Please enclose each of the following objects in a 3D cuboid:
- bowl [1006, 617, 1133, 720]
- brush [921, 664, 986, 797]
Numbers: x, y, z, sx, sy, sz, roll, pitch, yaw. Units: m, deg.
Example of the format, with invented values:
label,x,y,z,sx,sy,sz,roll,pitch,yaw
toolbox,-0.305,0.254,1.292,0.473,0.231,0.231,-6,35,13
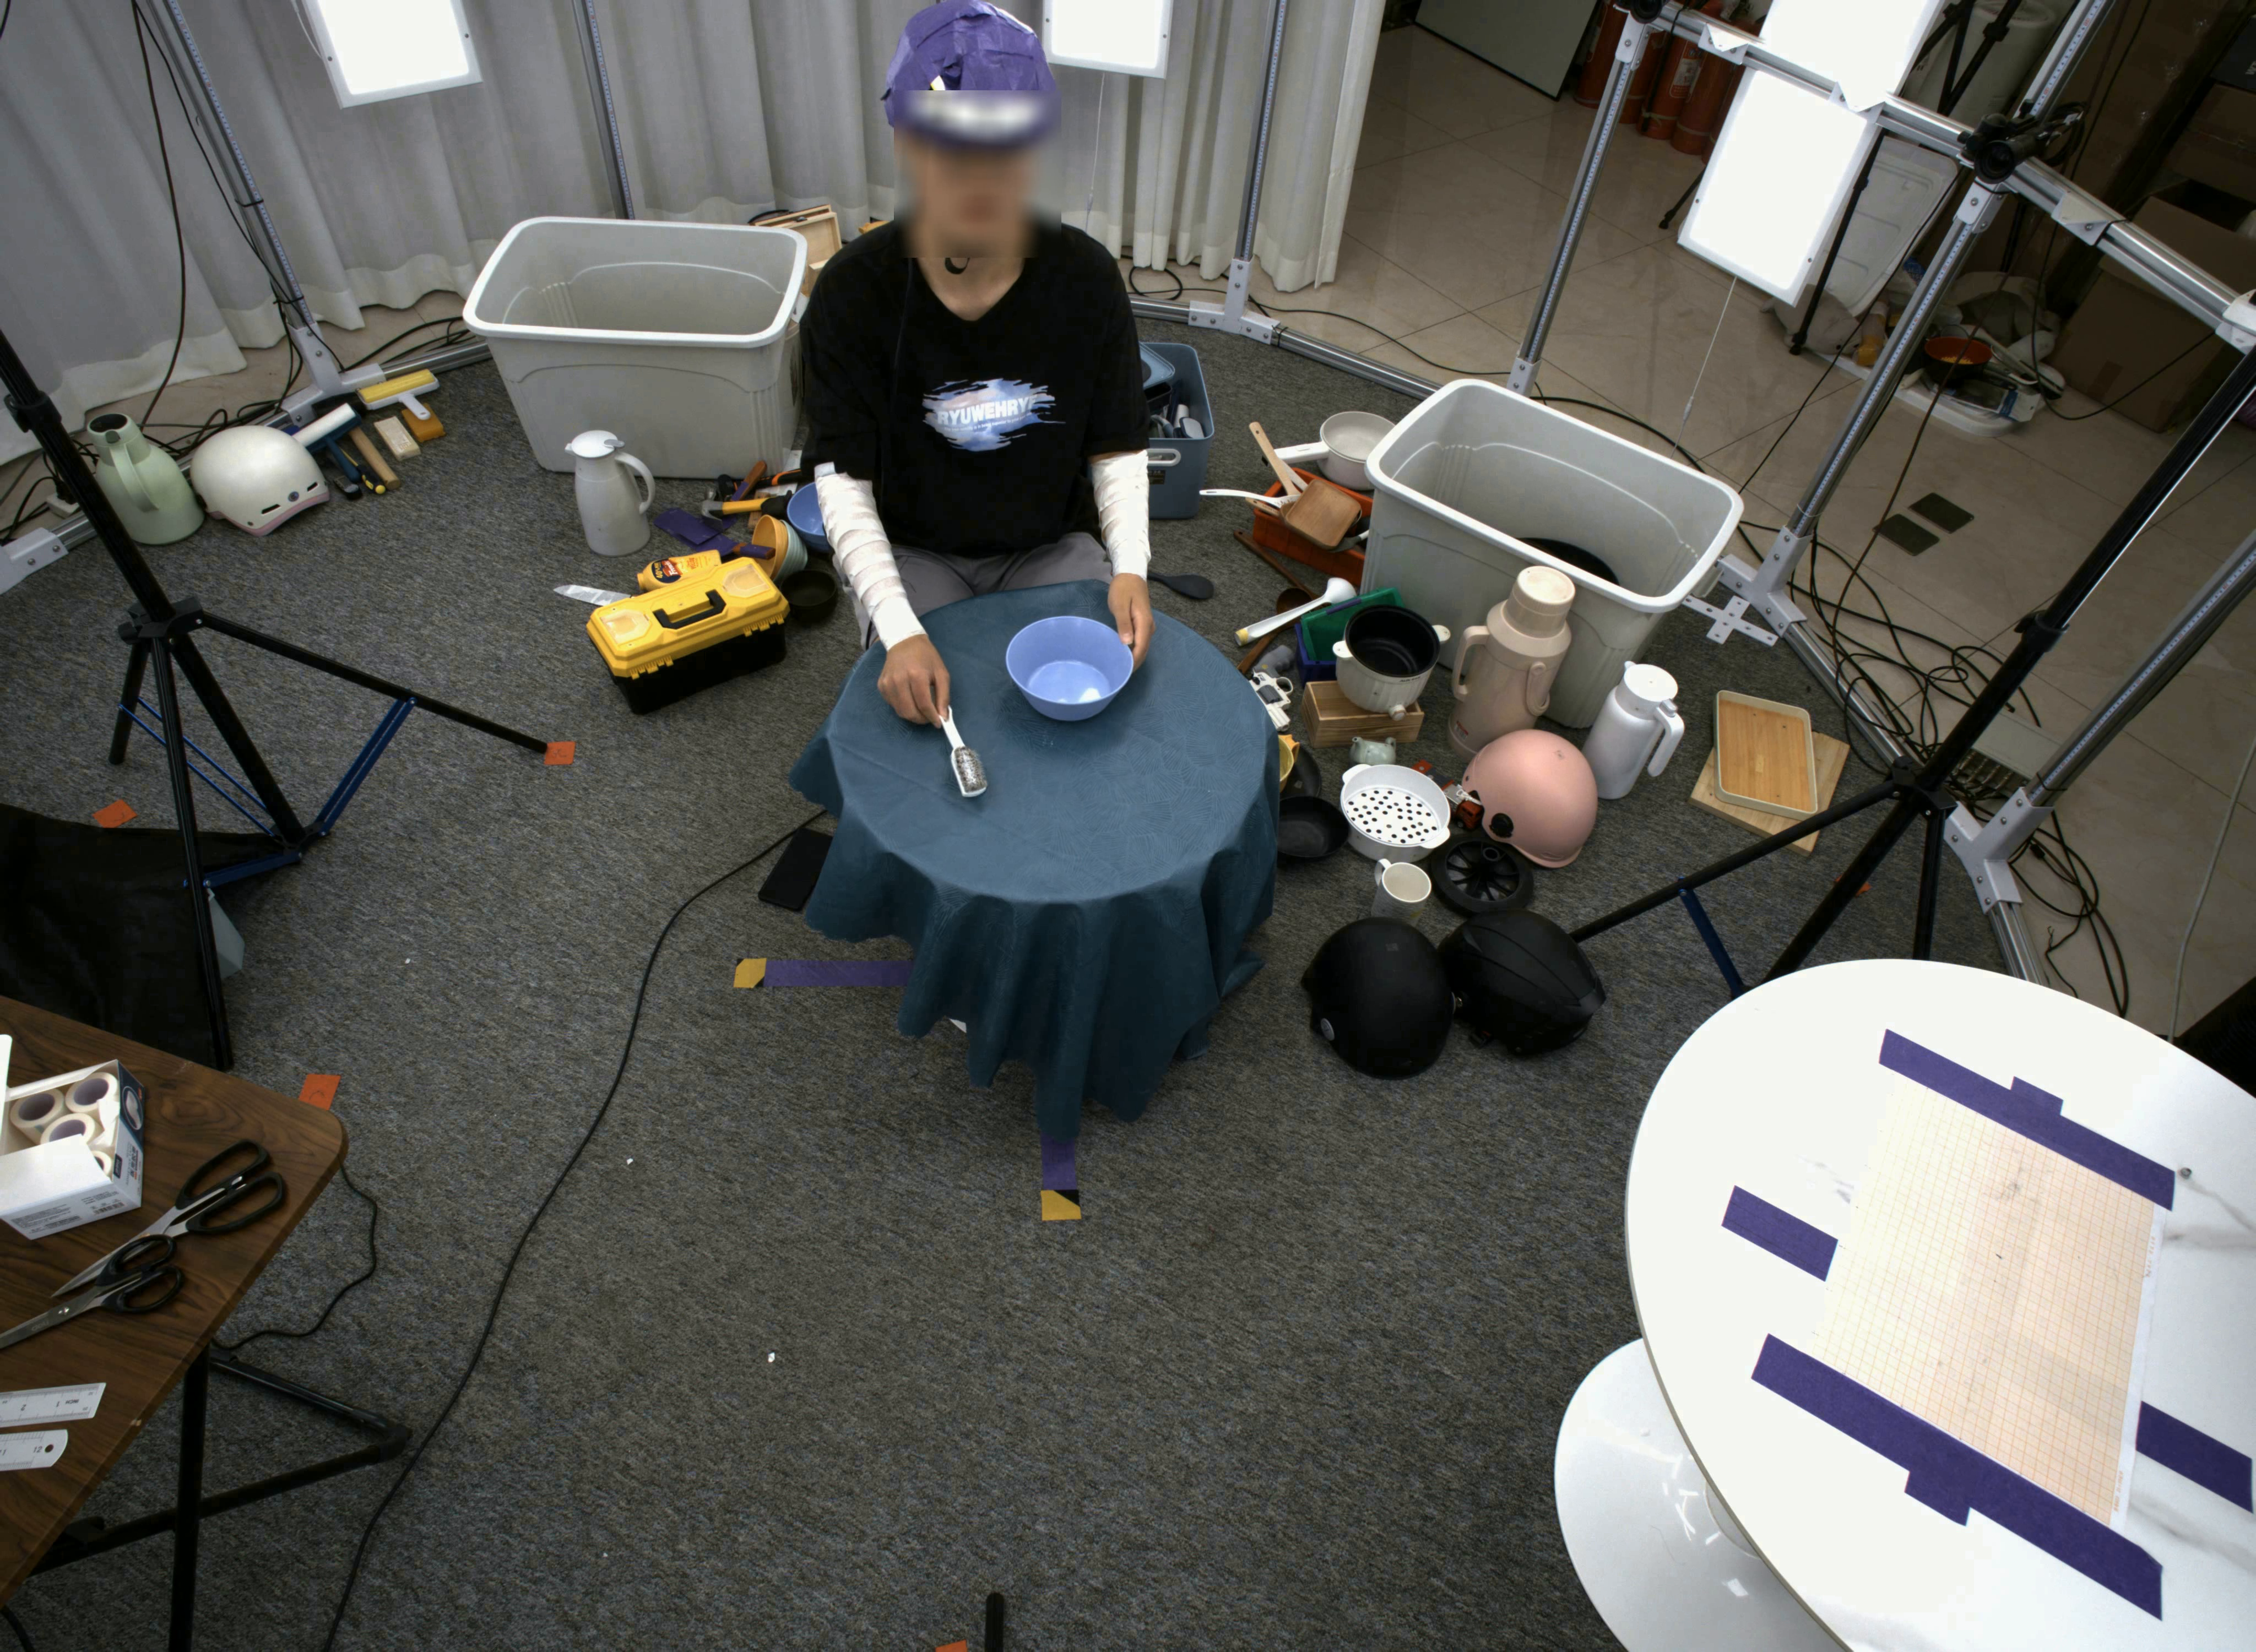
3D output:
label,x,y,z,sx,sy,sz,roll,pitch,yaw
bowl,-0.083,-0.213,1.806,0.176,0.068,0.180,2,49,-3
brush,-0.240,-0.141,1.736,0.034,0.049,0.249,-14,57,-15
